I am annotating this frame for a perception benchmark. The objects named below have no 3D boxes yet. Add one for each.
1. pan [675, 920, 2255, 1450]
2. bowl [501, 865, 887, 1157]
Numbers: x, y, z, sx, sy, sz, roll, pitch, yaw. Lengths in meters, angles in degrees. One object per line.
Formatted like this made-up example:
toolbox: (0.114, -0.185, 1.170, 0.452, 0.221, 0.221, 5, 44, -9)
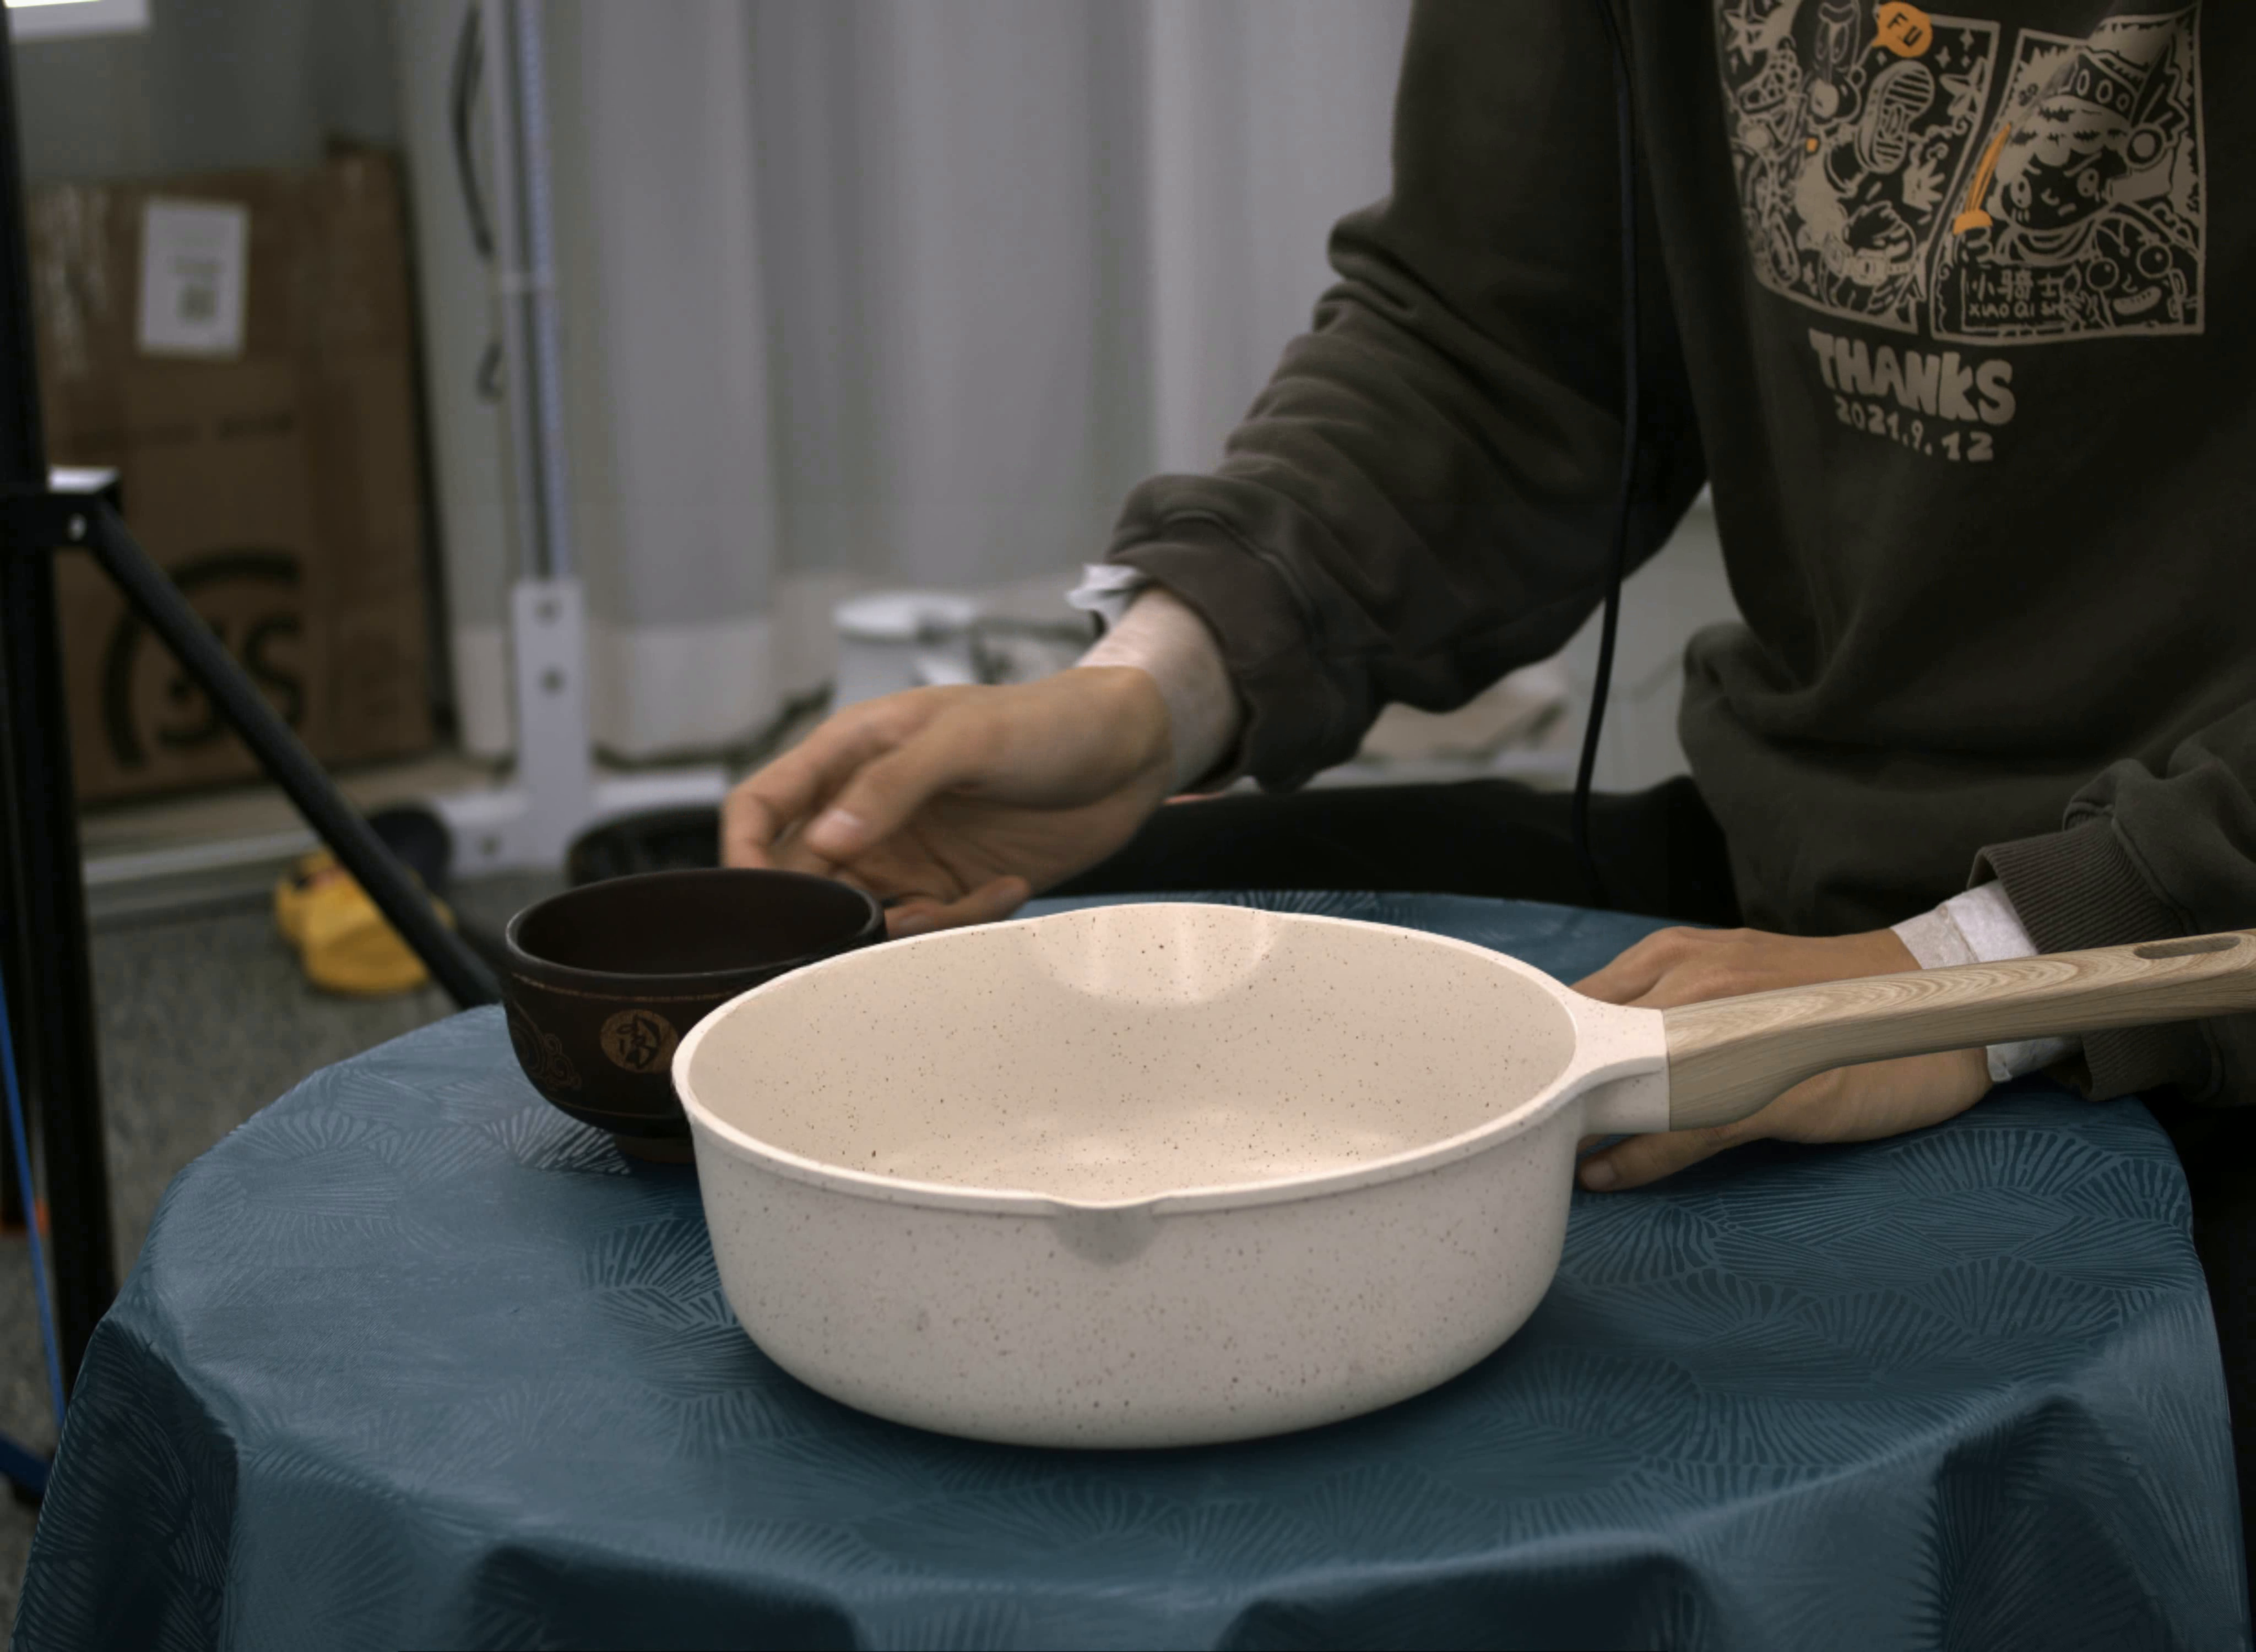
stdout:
pan: (0.095, 0.089, 1.433, 0.434, 0.102, 0.263, -1, 14, 5)
bowl: (-0.131, 0.060, 1.625, 0.117, 0.070, 0.118, -3, 14, -1)
